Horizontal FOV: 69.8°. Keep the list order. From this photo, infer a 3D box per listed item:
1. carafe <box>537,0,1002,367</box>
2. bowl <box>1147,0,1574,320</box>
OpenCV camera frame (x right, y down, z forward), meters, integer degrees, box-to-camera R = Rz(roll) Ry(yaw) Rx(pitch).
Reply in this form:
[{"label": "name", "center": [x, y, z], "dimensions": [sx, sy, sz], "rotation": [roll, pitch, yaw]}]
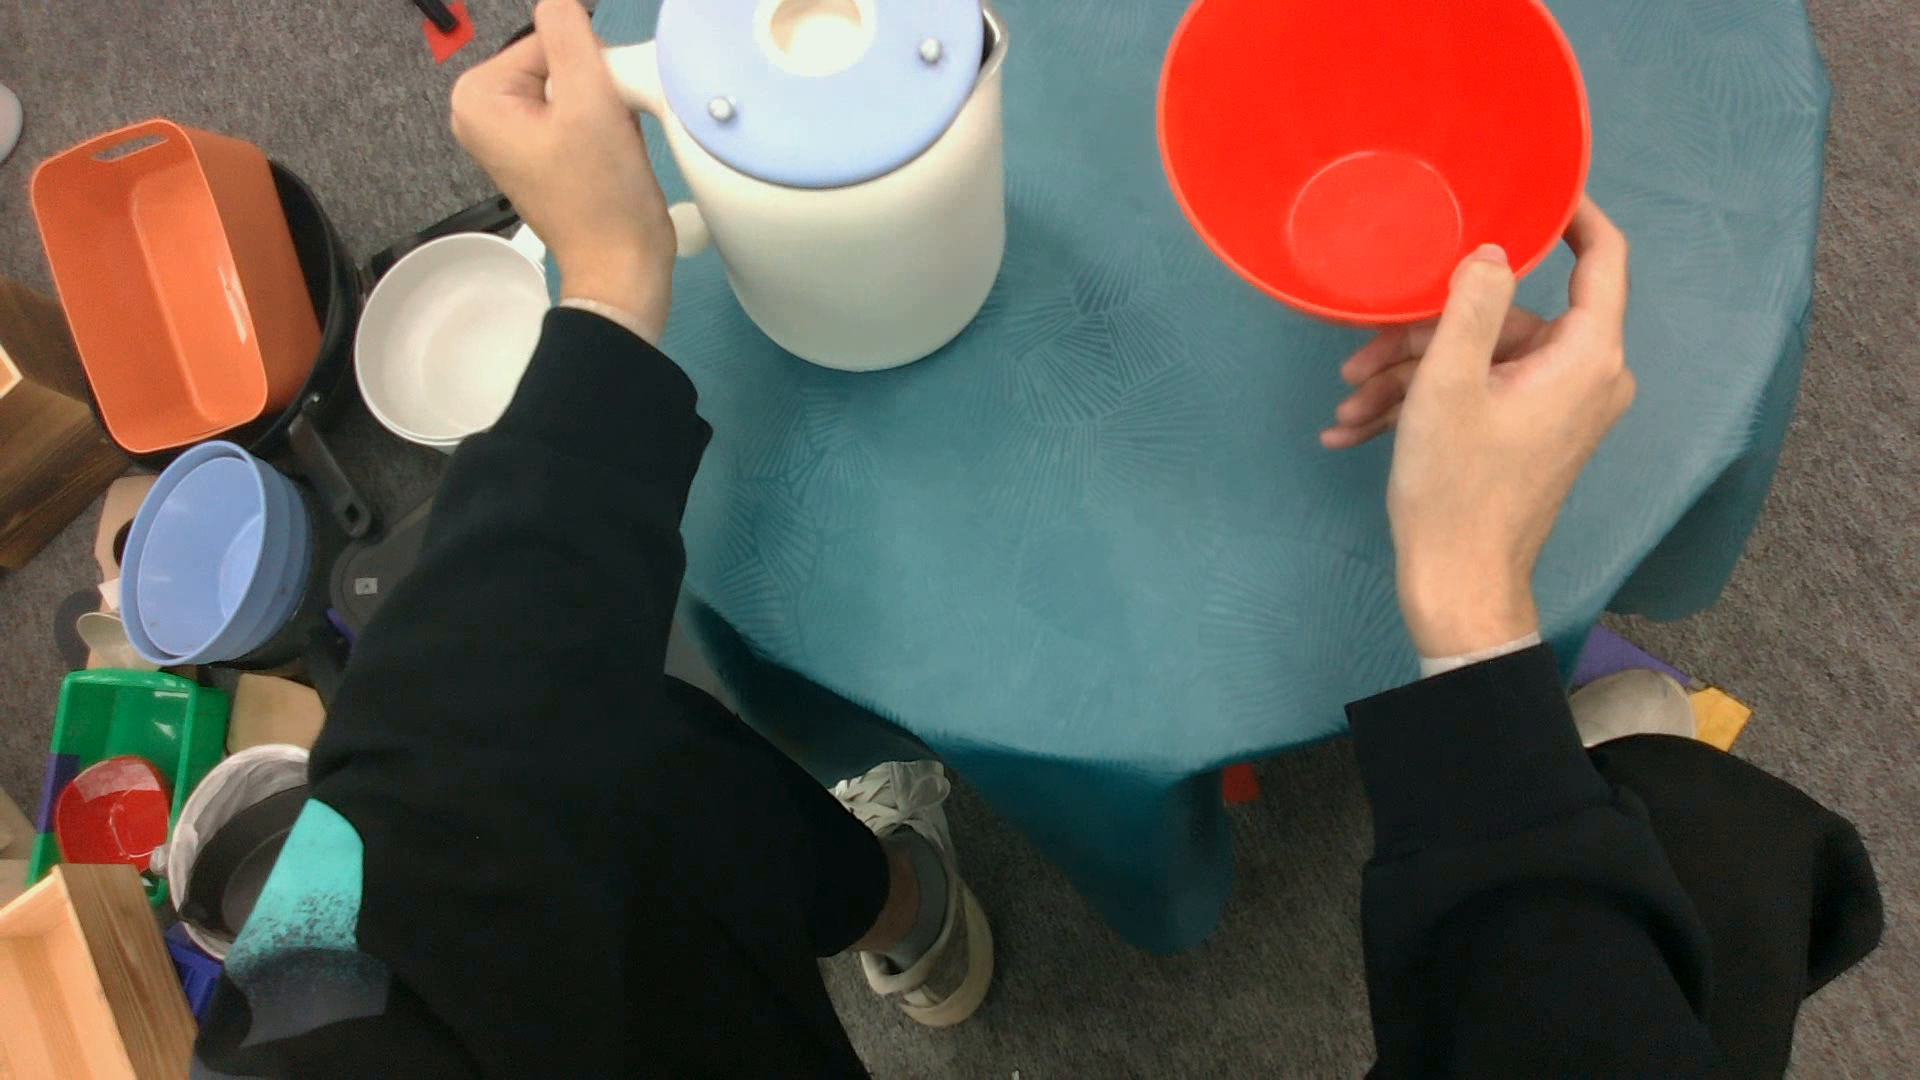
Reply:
[{"label": "carafe", "center": [-0.075, -0.161, 0.577], "dimensions": [0.191, 0.182, 0.132], "rotation": [-3, 74, 3]}, {"label": "bowl", "center": [0.147, -0.143, 0.522], "dimensions": [0.148, 0.104, 0.148], "rotation": [-2, 78, 9]}]
